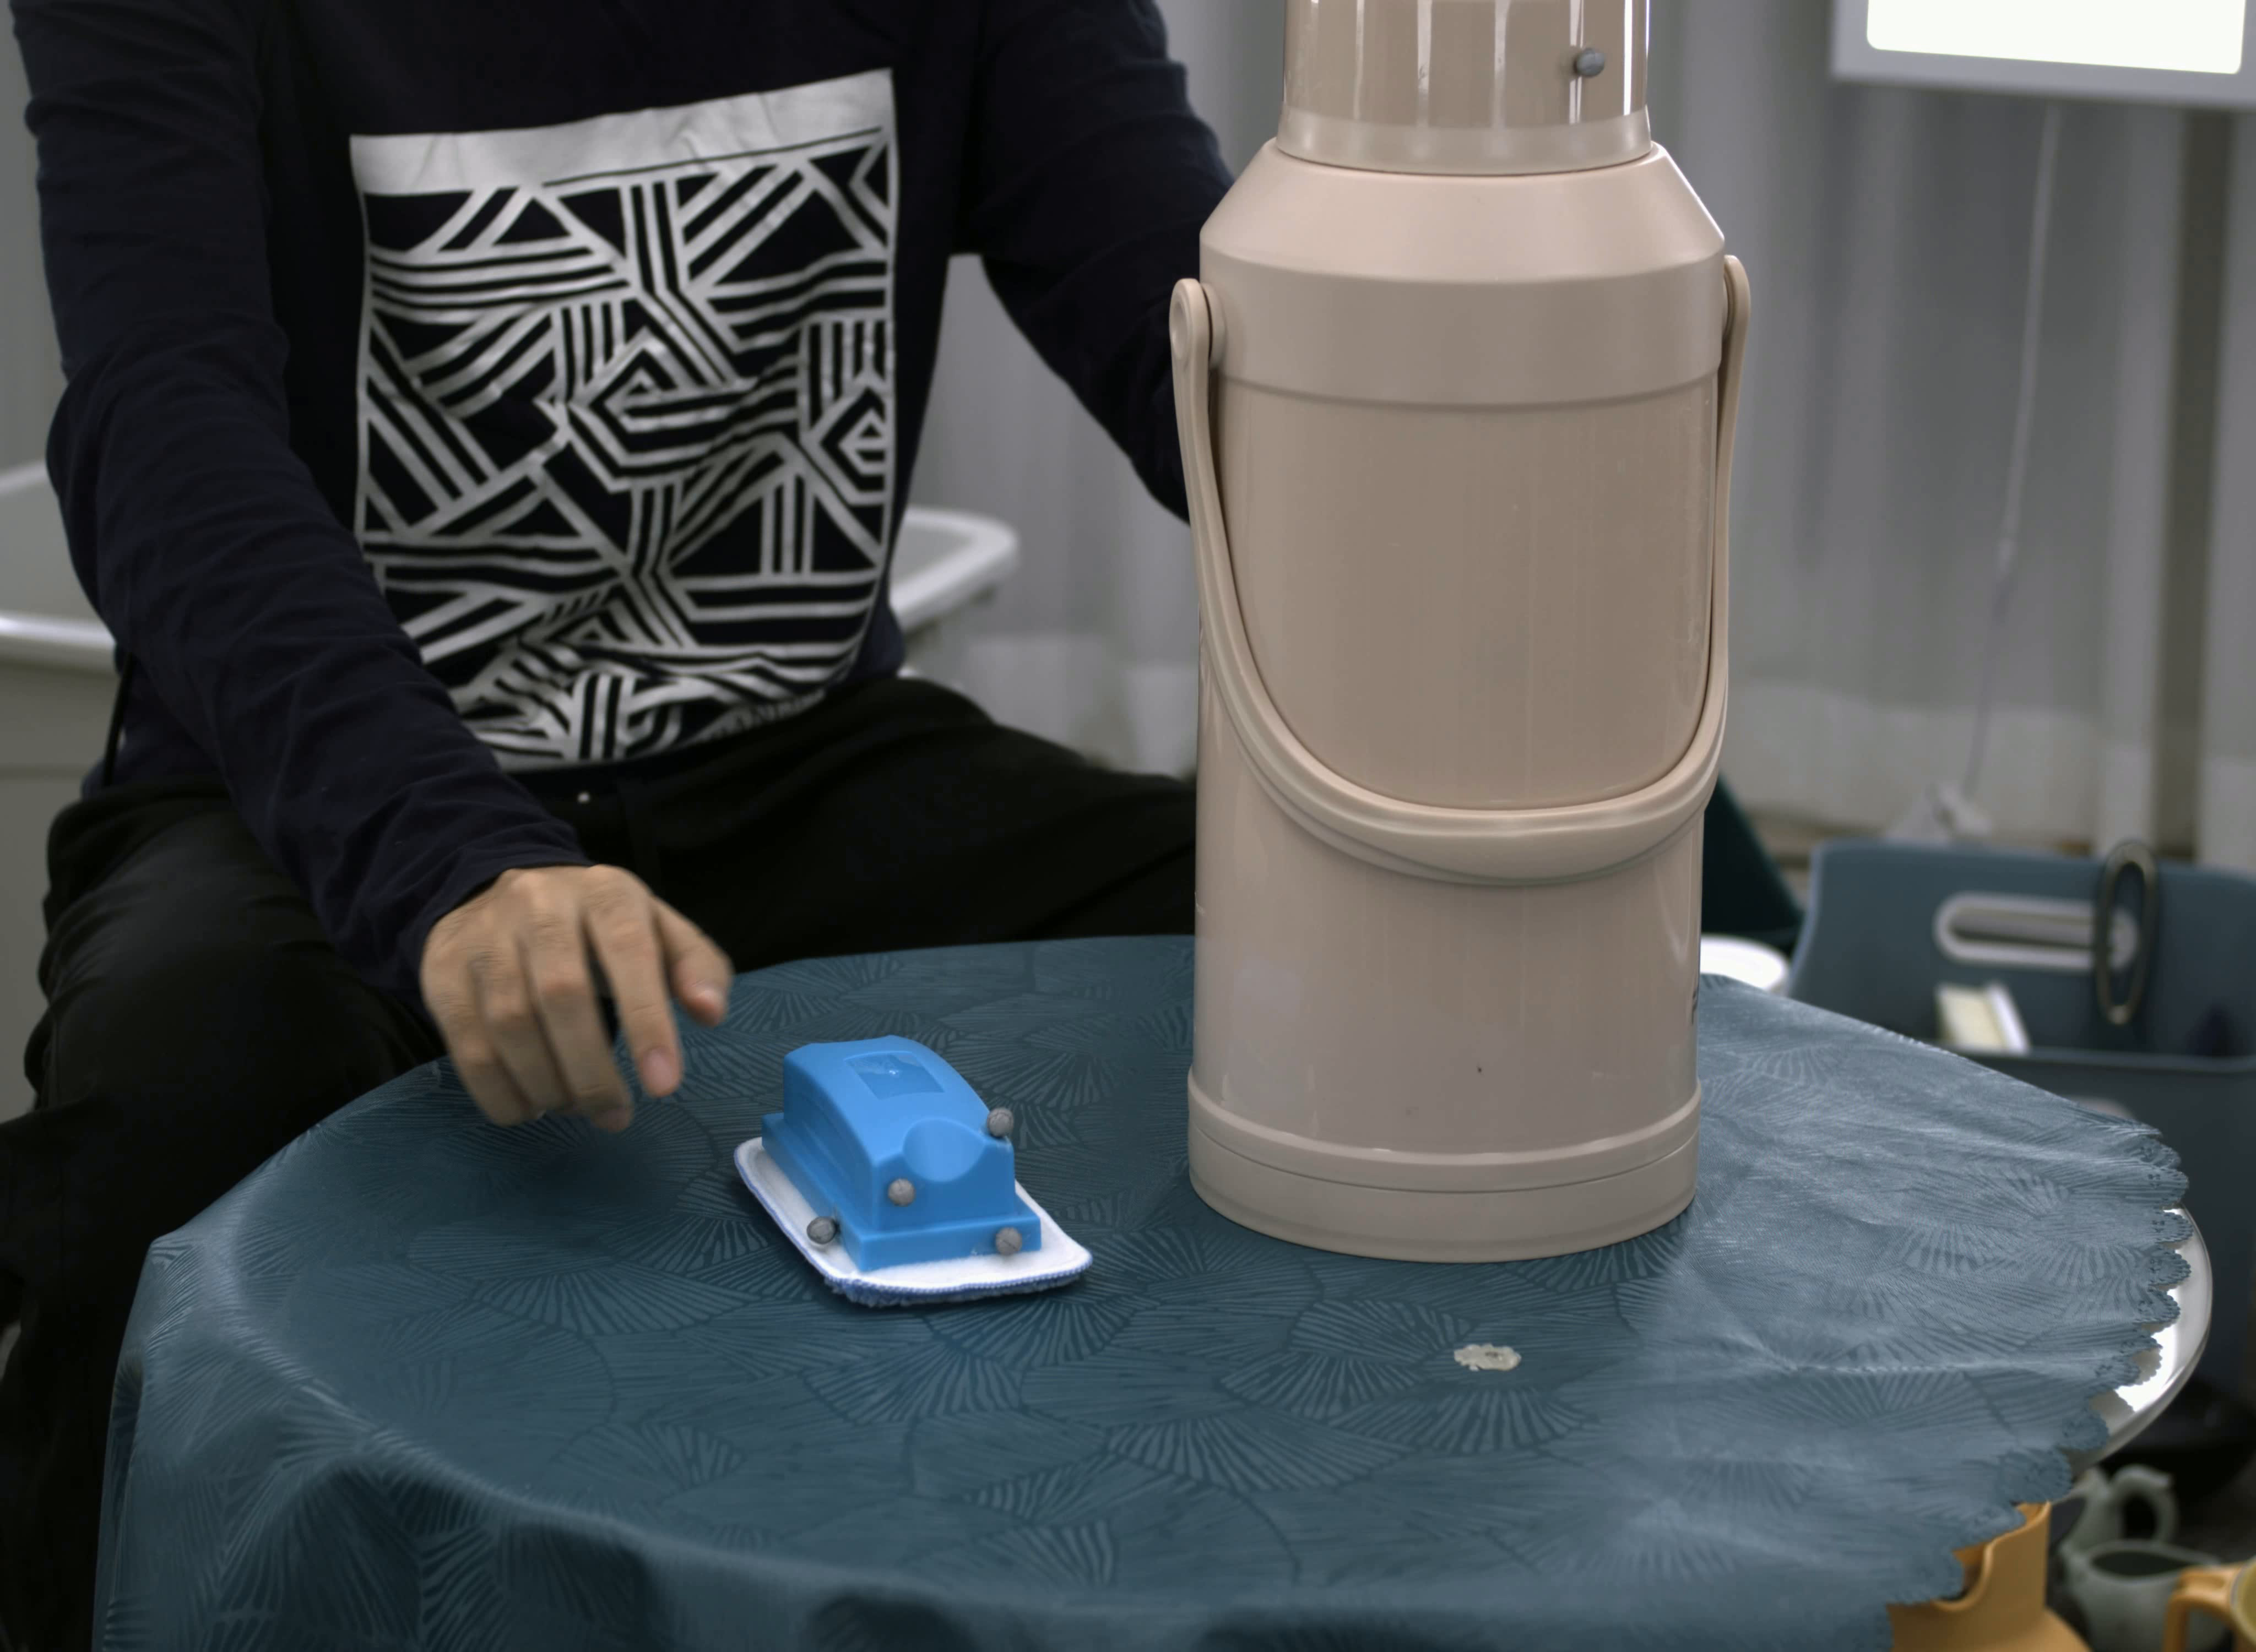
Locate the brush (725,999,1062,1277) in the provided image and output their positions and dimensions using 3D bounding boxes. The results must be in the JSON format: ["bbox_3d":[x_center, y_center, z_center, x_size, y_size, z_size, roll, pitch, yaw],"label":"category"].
[{"bbox_3d":[-0.070,0.091,1.585,0.084,0.056,0.142,-1,18,-16],"label":"brush"}]

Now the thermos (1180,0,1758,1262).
[{"bbox_3d":[0.100,-0.086,1.598,0.175,0.410,0.205,-6,16,-16],"label":"thermos"}]
